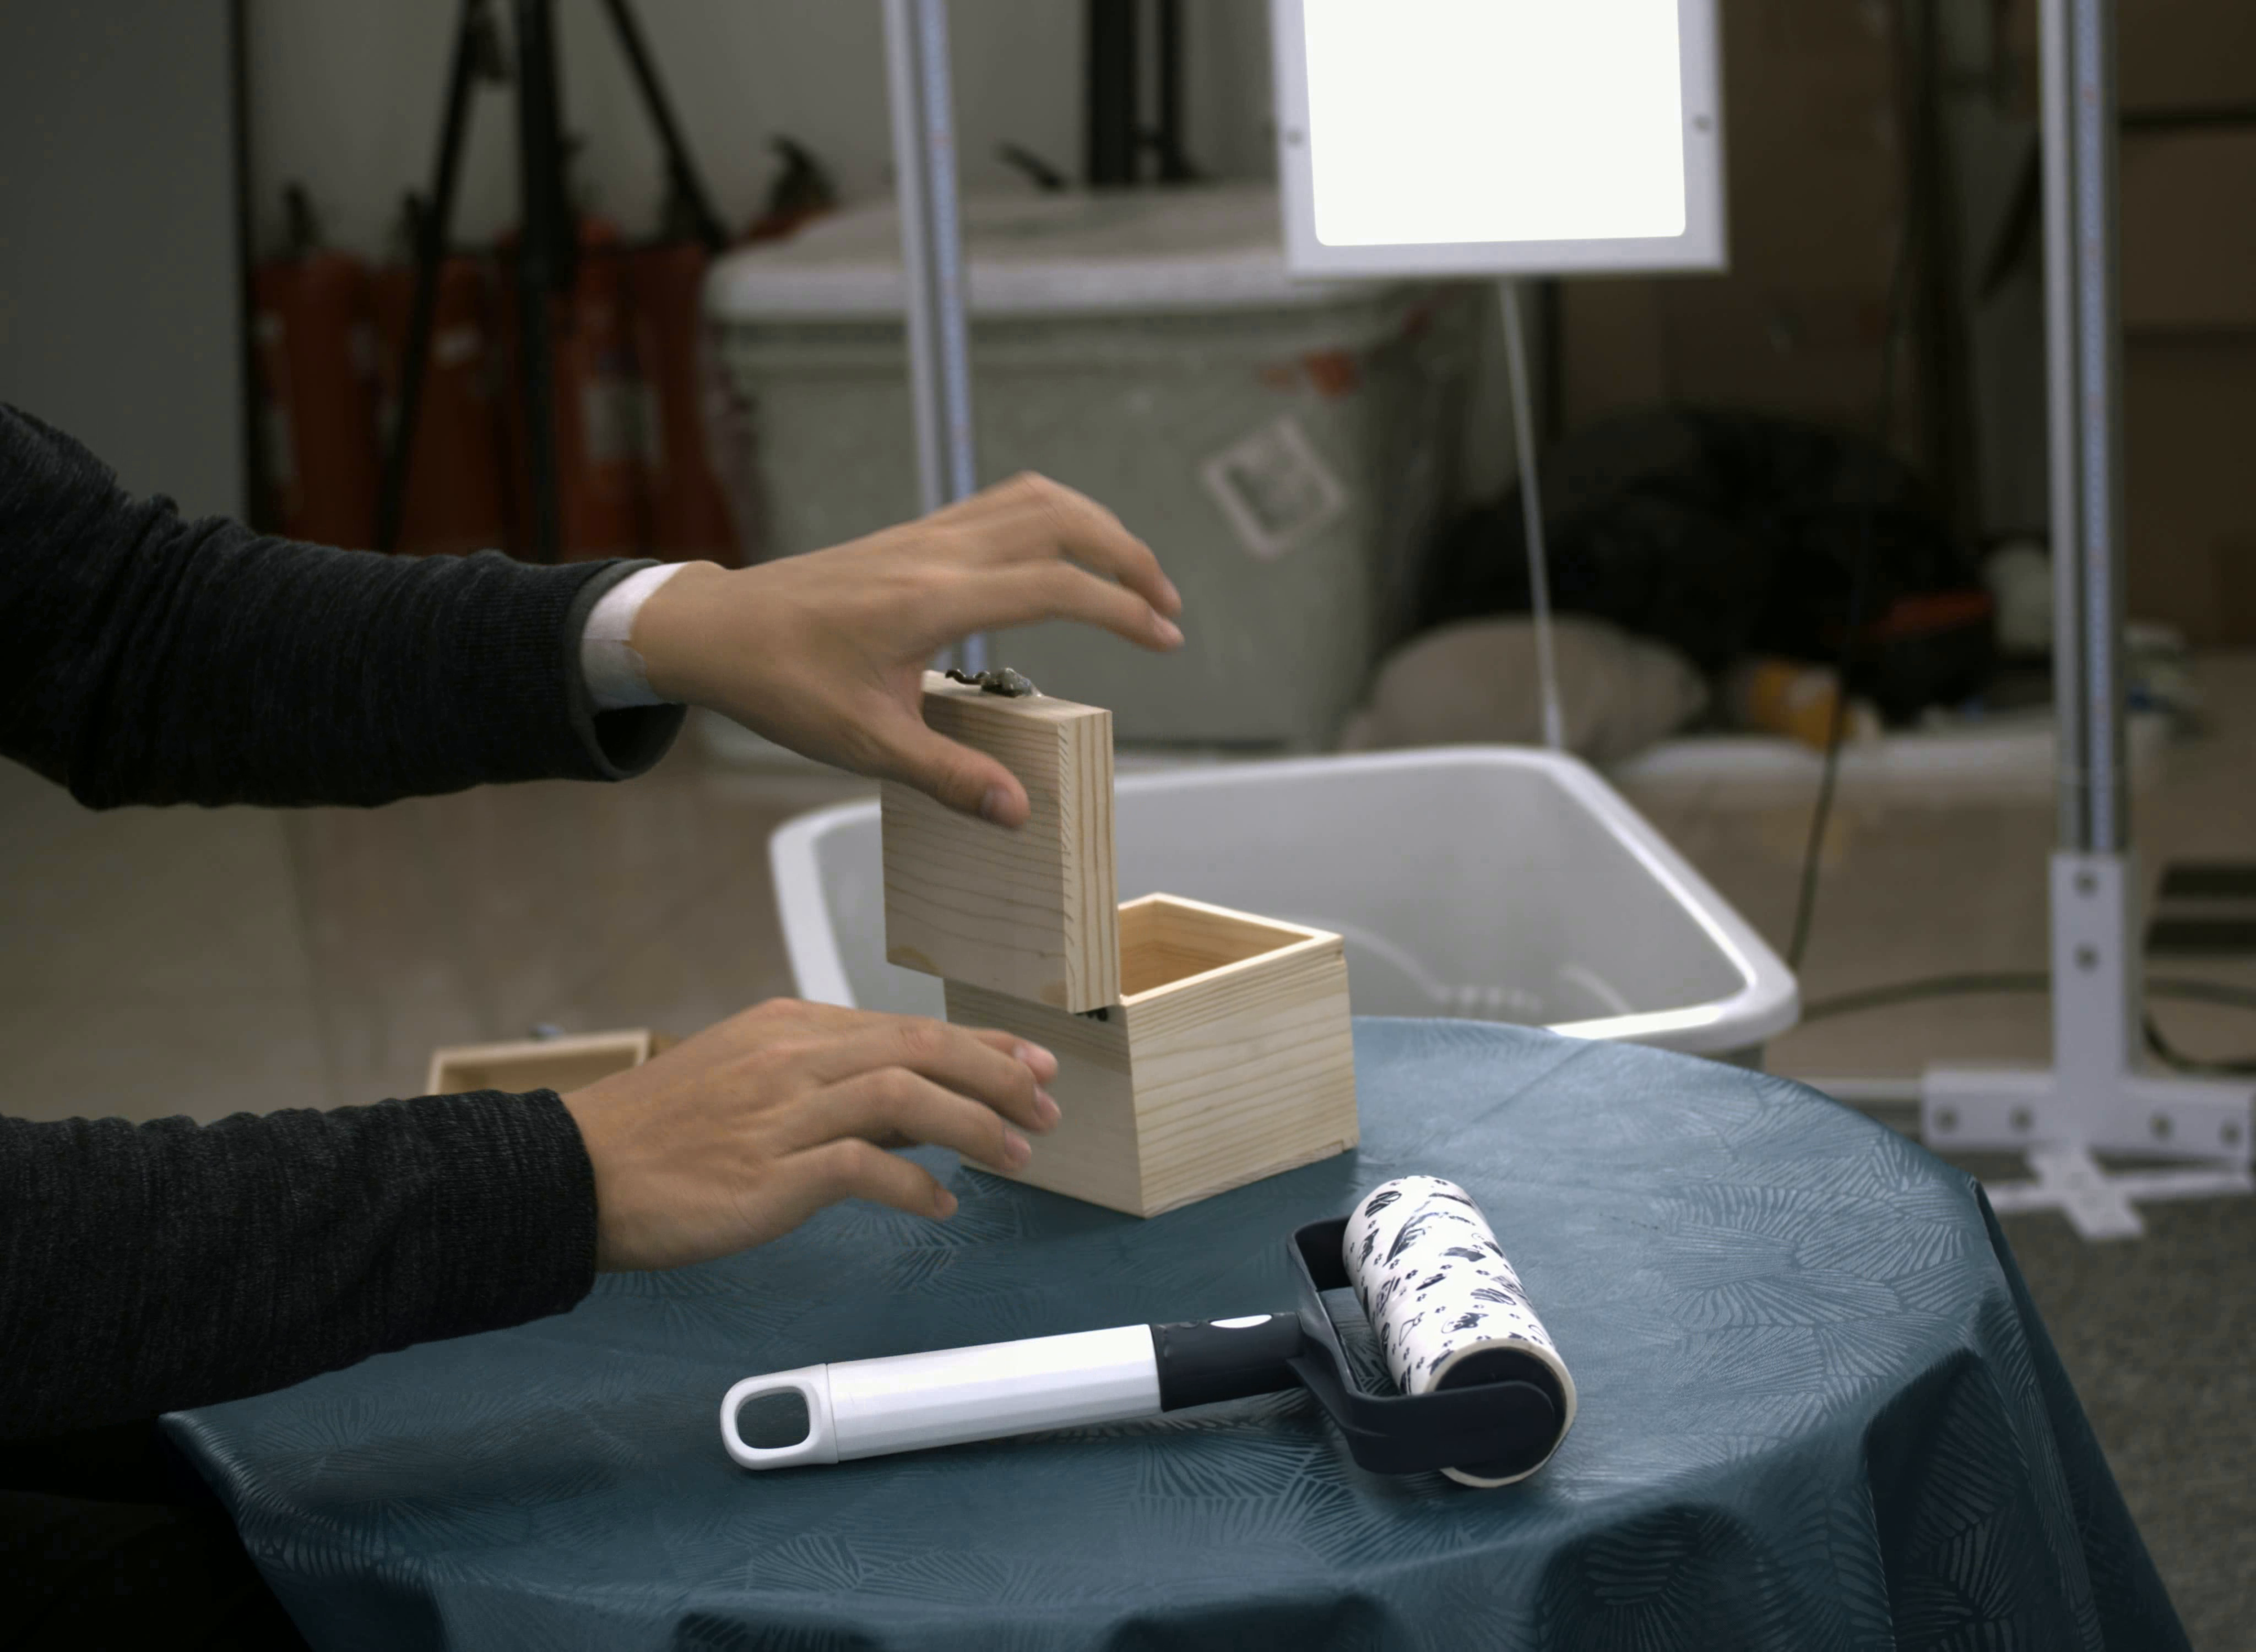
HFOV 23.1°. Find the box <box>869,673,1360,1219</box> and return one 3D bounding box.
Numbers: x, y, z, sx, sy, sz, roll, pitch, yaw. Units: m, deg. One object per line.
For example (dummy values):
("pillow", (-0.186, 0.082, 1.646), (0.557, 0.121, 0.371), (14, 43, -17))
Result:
("box", (-0.003, 0.031, 1.907), (0.130, 0.185, 0.105), (-16, 17, -37))

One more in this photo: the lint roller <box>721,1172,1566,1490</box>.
("lint roller", (-0.001, 0.163, 1.660), (0.246, 0.050, 0.176), (-7, 15, -3))
